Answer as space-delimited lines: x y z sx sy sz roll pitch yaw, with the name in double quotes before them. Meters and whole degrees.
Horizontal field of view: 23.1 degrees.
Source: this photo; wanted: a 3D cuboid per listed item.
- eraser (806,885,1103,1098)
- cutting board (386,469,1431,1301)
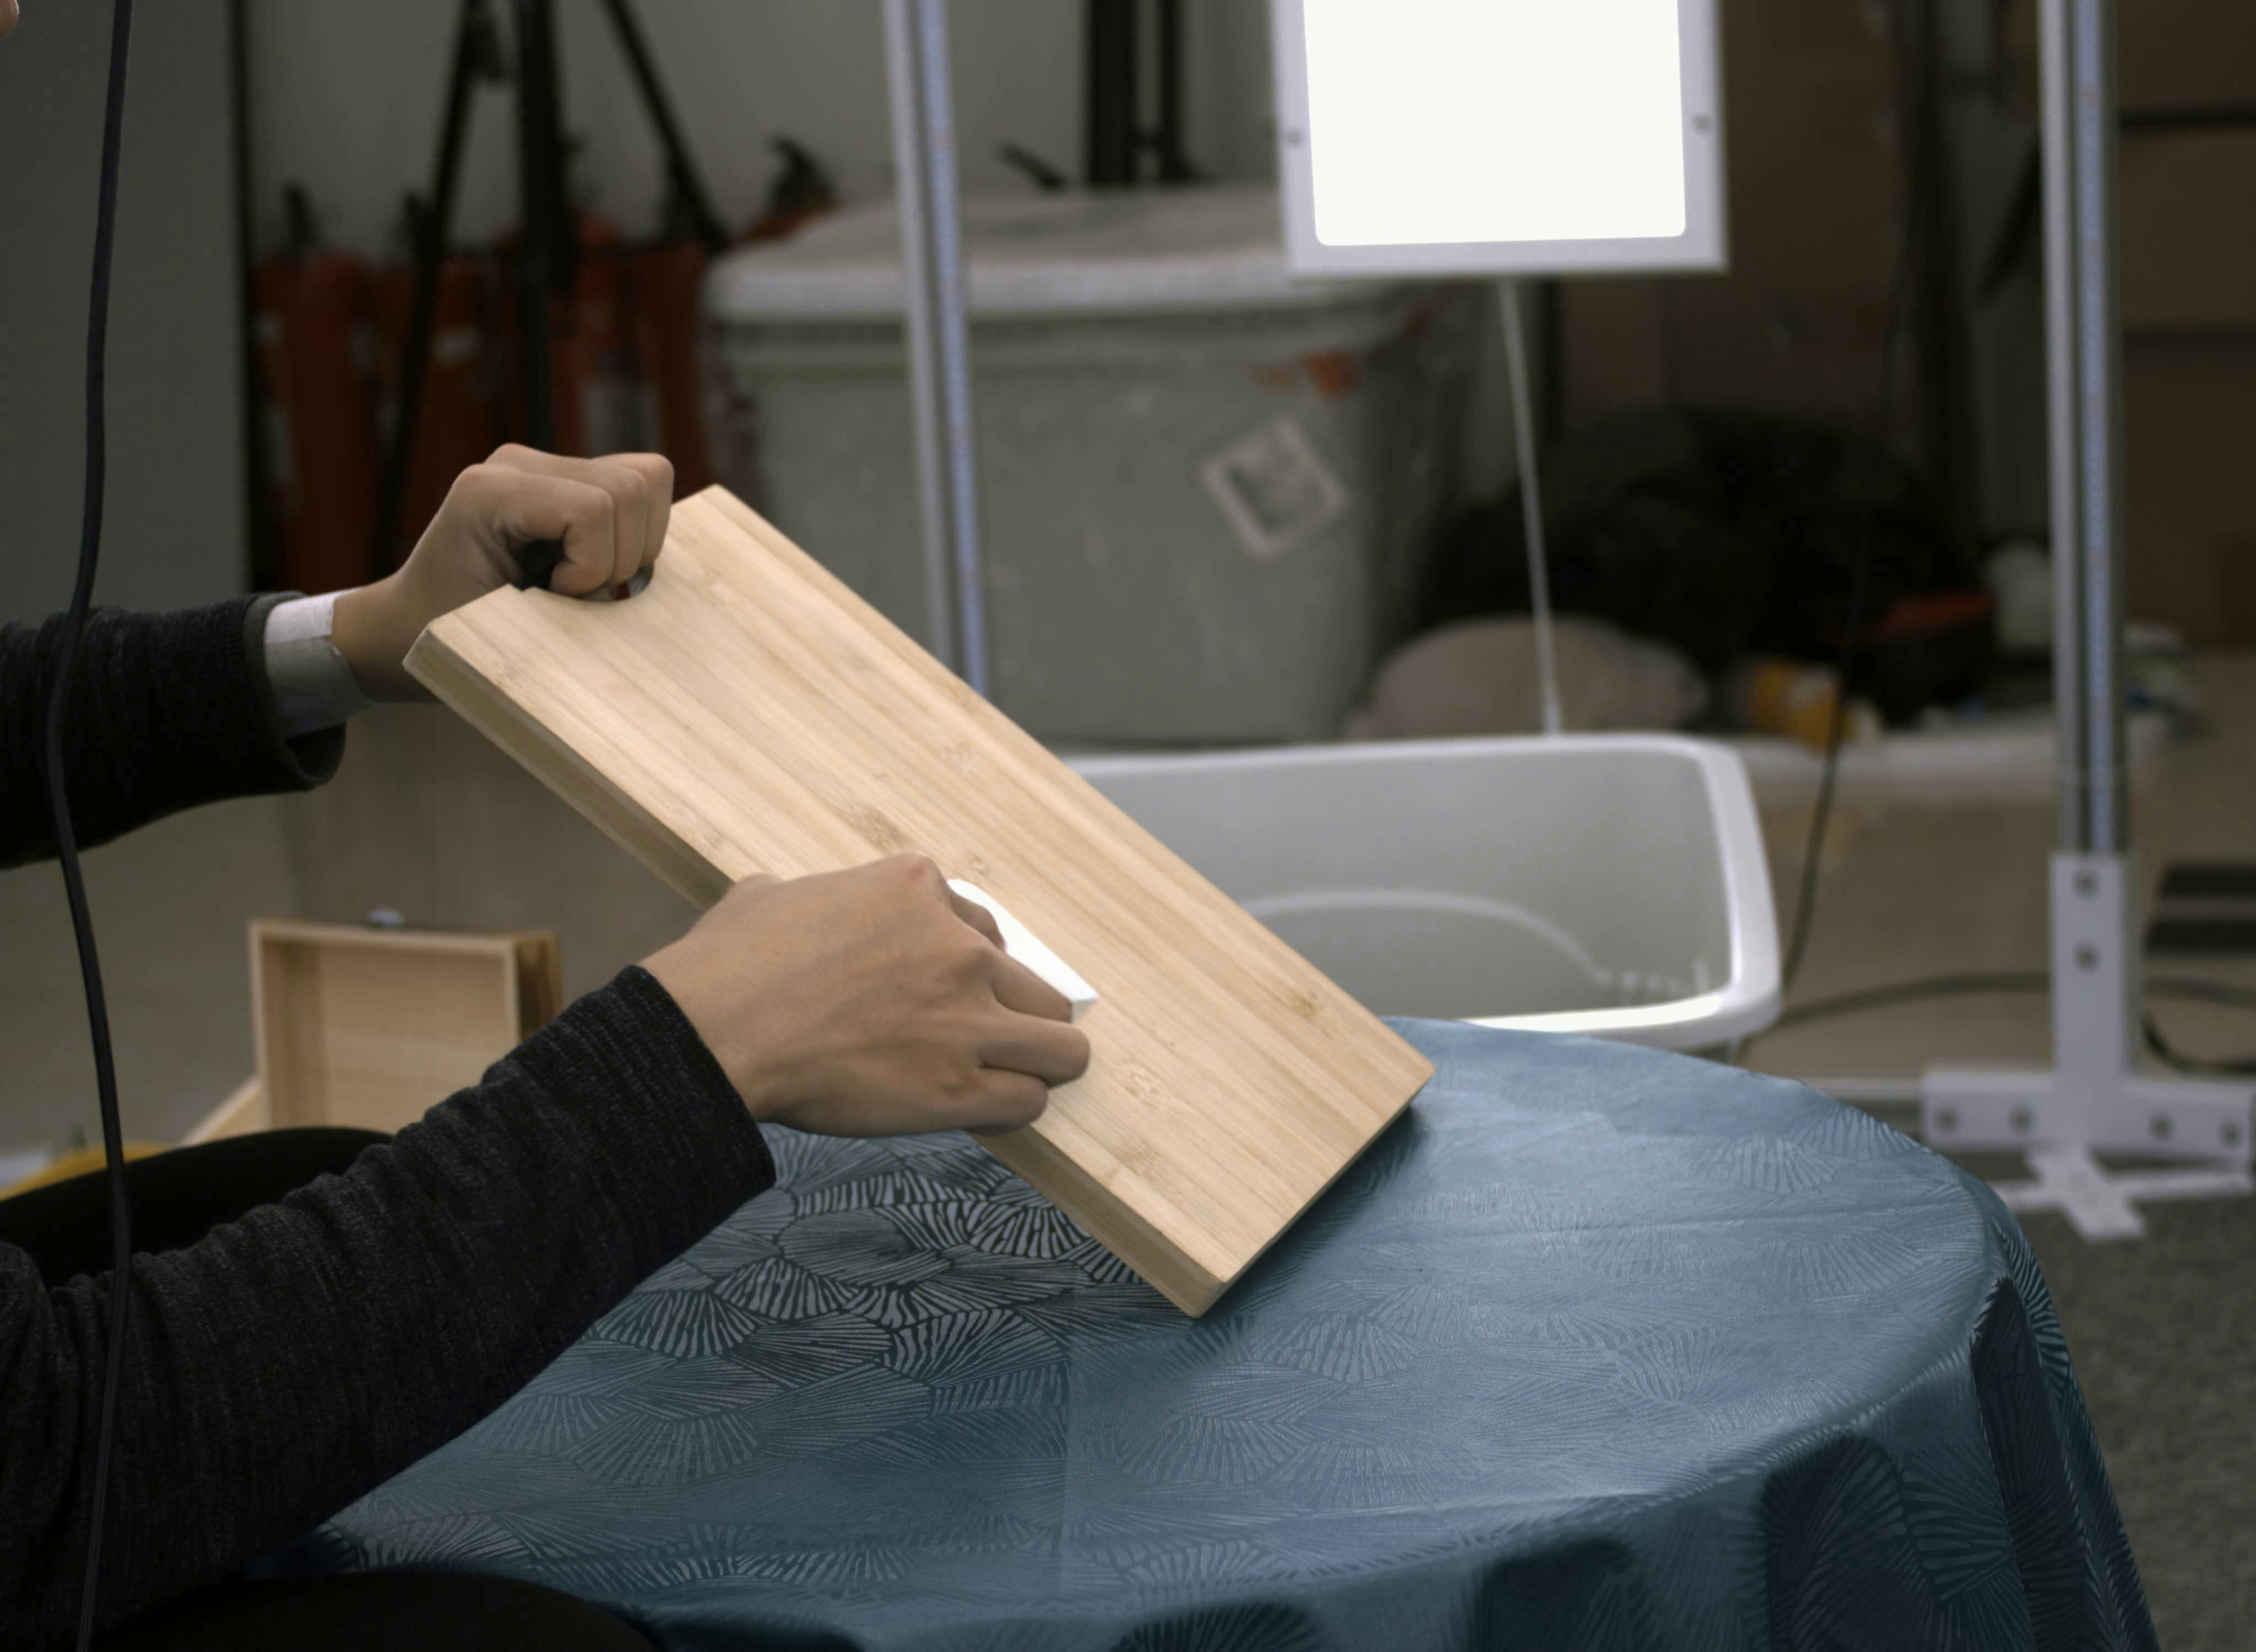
"eraser" -0.055 0.050 1.762 0.064 0.035 0.129 40 18 13
"cutting board" -0.068 0.013 1.889 0.350 0.024 0.246 39 24 7
